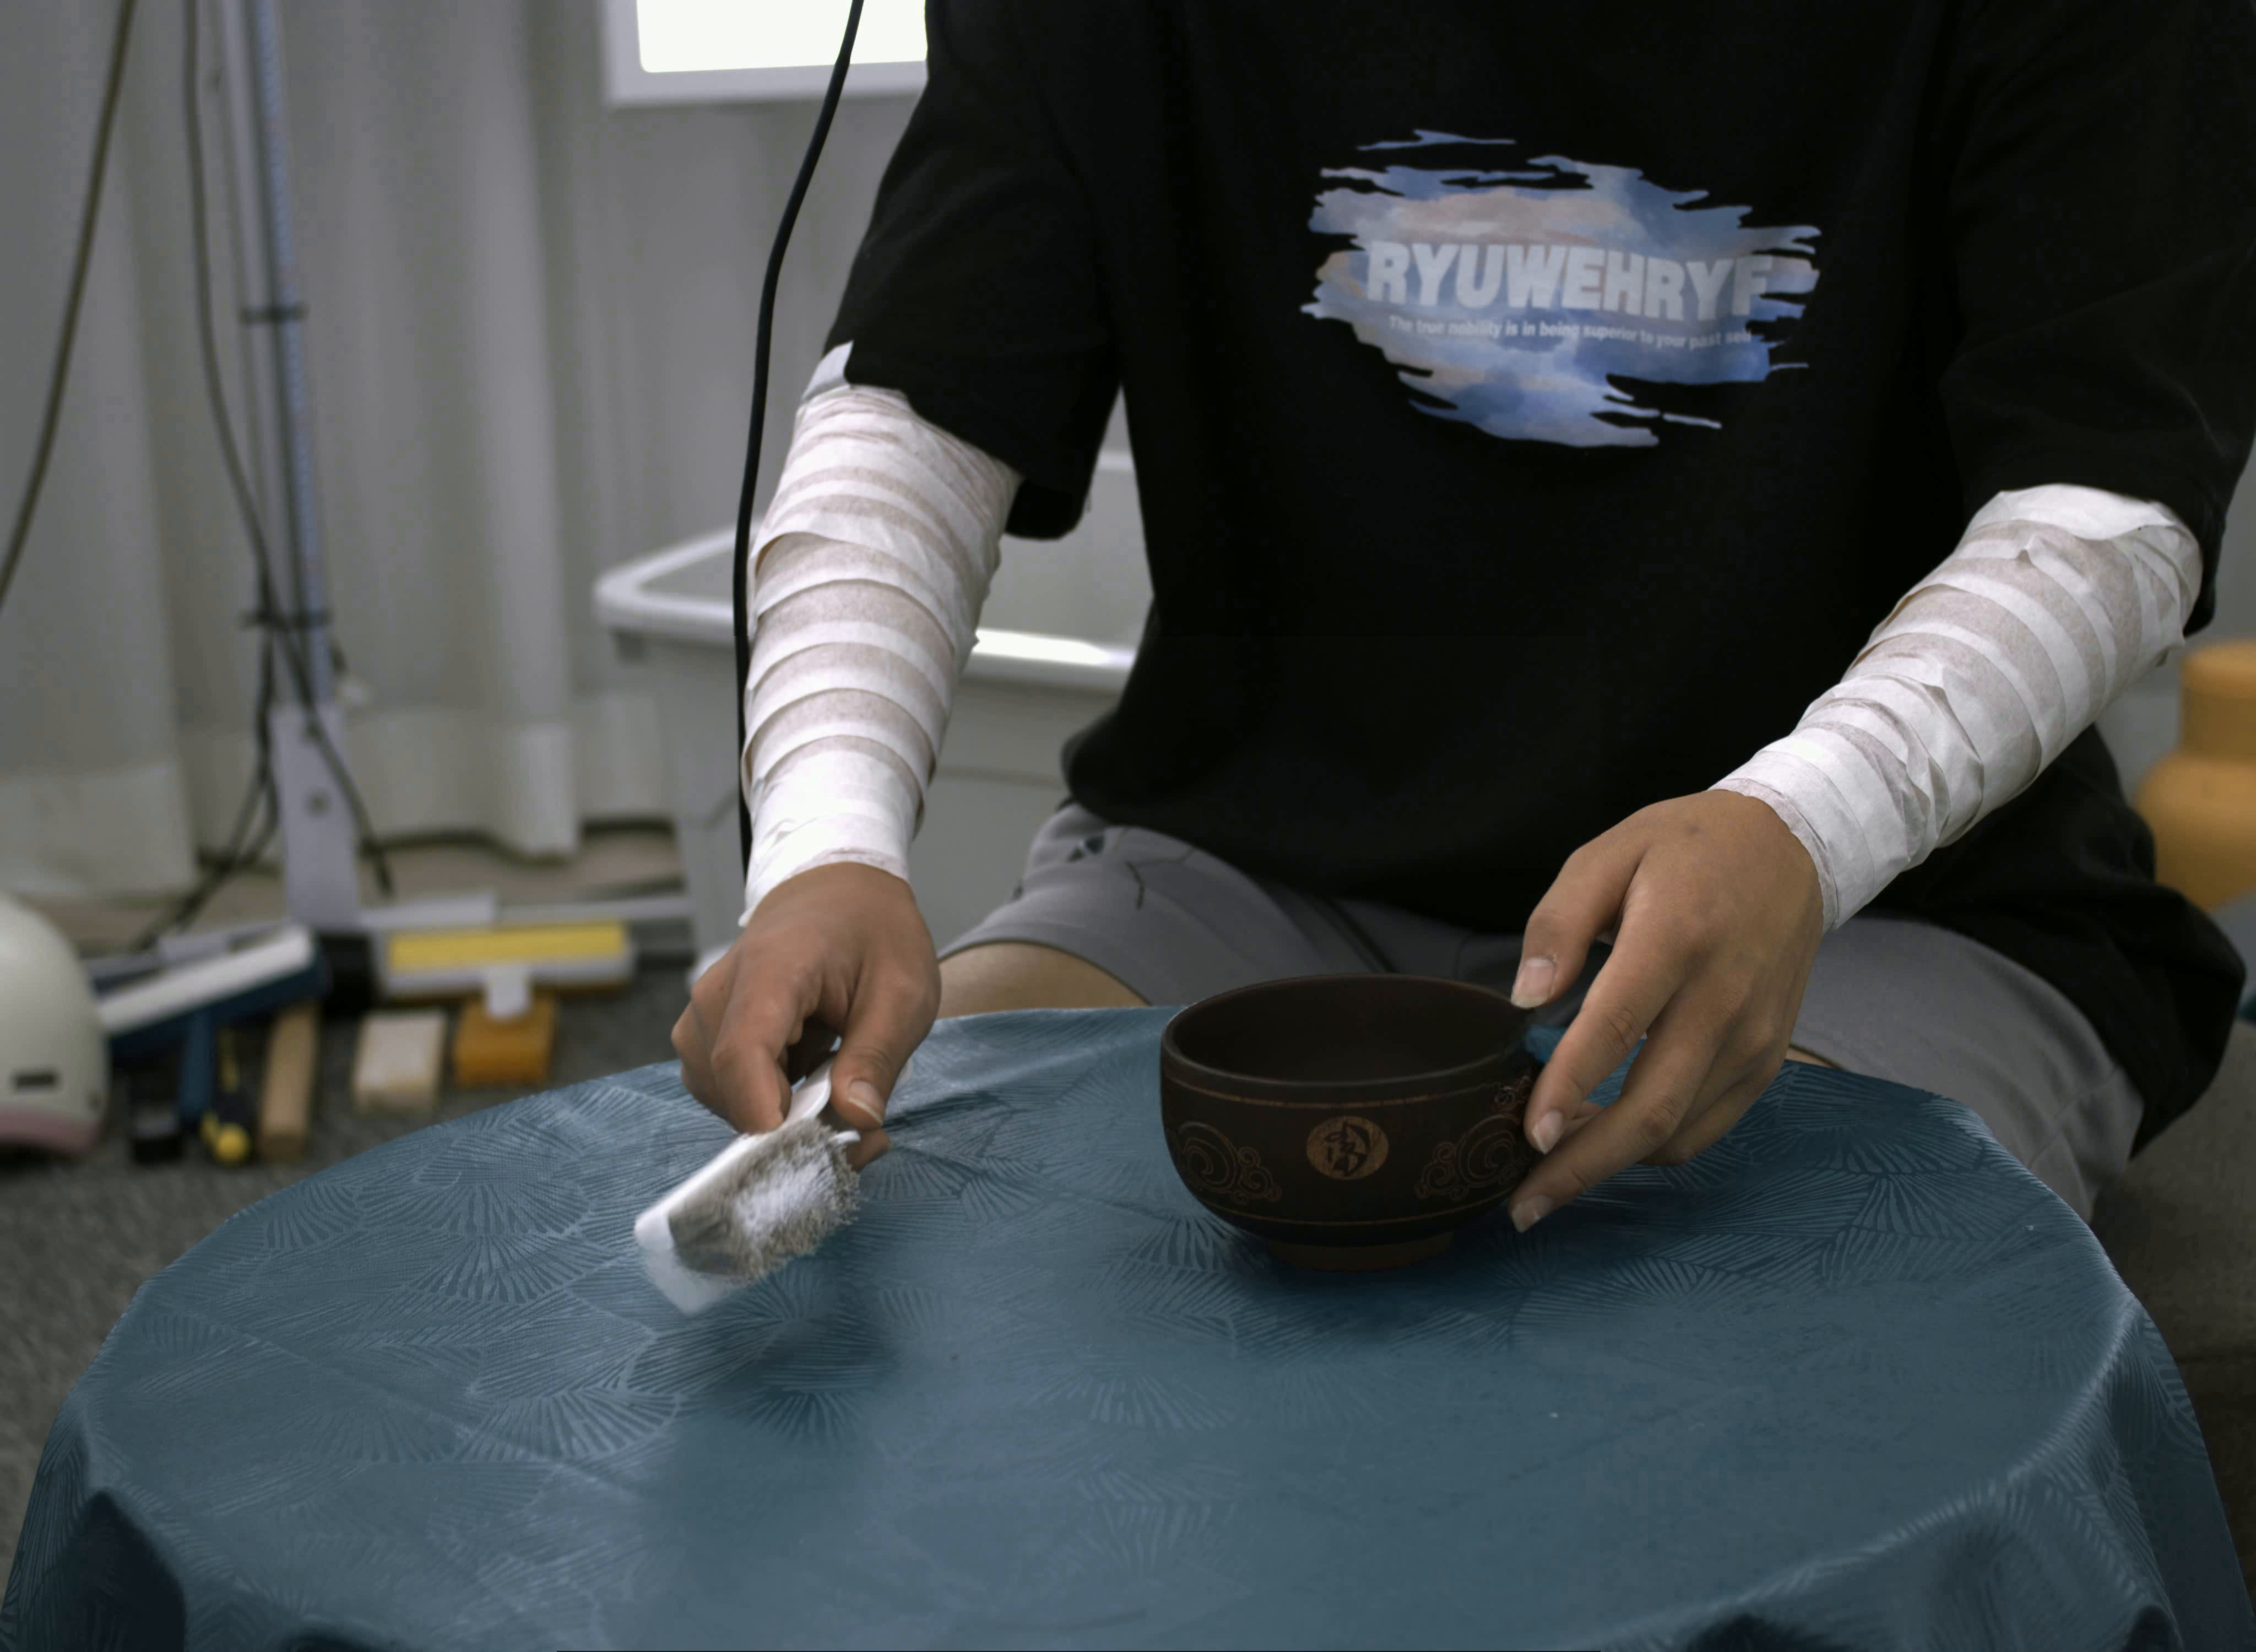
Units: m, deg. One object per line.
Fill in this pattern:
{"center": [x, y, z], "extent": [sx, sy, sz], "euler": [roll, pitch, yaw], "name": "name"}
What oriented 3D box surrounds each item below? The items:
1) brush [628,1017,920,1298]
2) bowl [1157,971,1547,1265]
{"center": [-0.088, 0.091, 1.663], "extent": [0.050, 0.034, 0.244], "euler": [-22, 6, 20], "name": "brush"}
{"center": [0.068, 0.091, 1.647], "extent": [0.117, 0.069, 0.118], "euler": [-3, 12, 0], "name": "bowl"}
